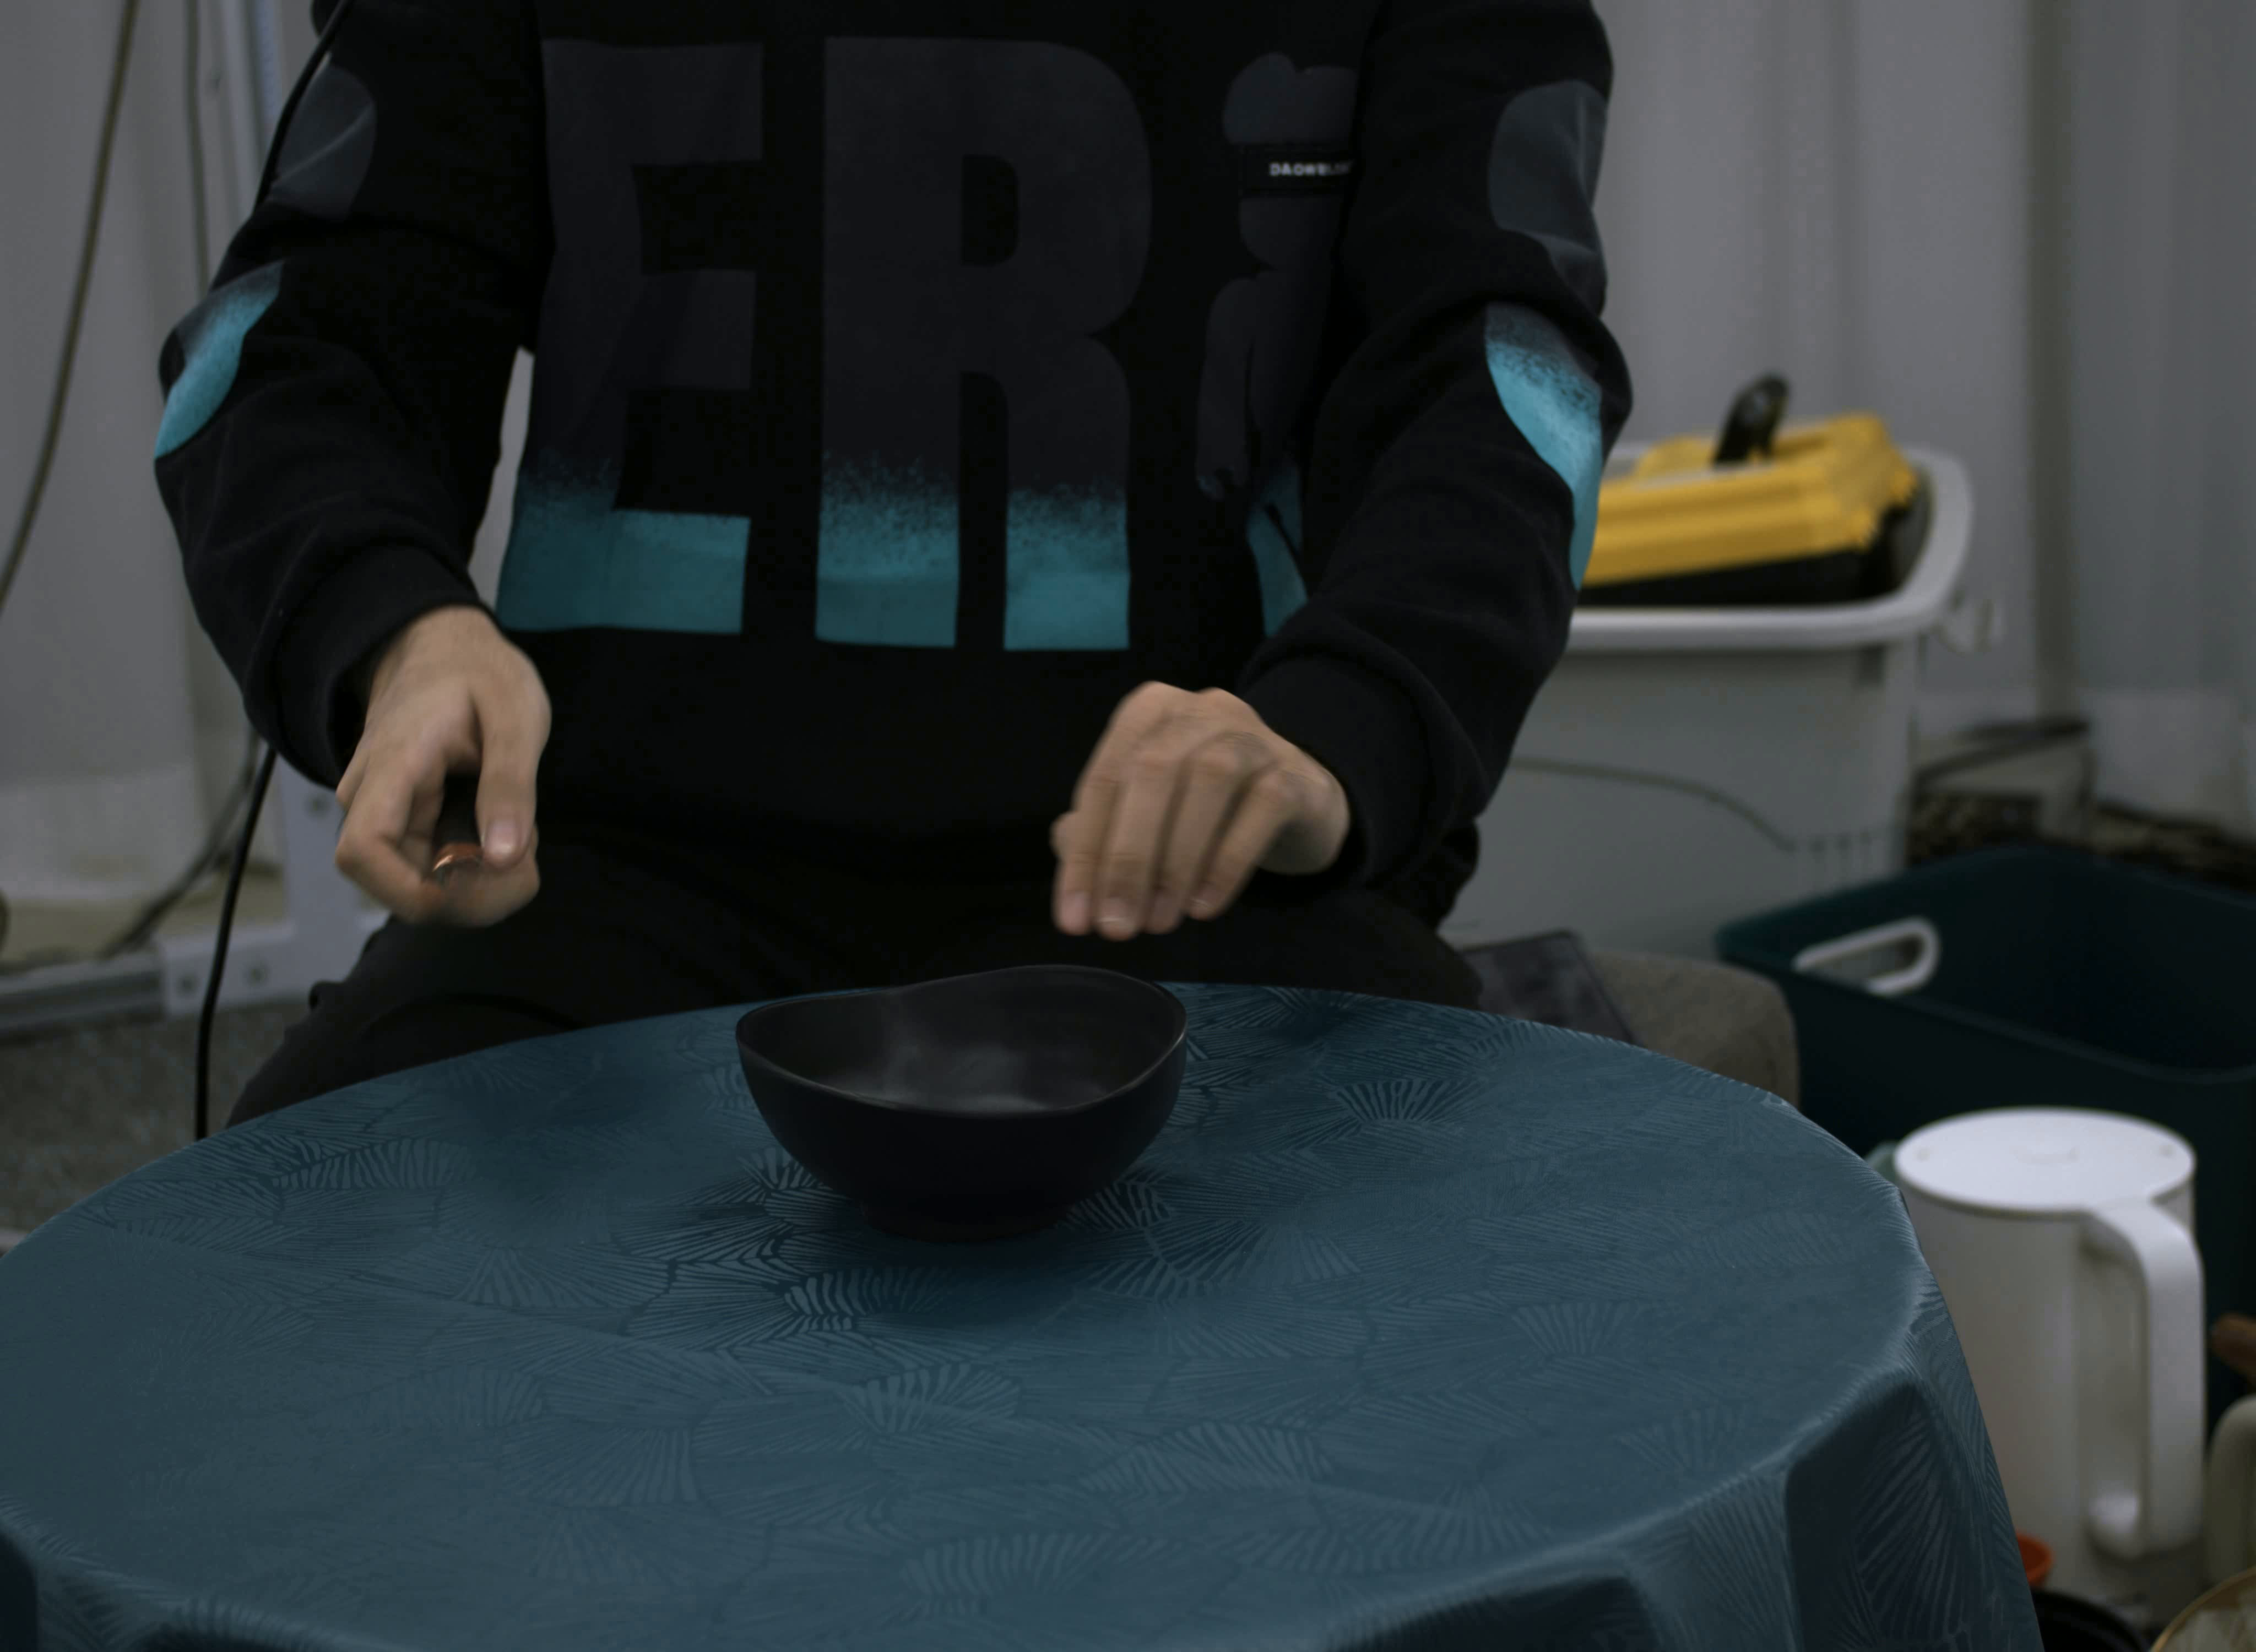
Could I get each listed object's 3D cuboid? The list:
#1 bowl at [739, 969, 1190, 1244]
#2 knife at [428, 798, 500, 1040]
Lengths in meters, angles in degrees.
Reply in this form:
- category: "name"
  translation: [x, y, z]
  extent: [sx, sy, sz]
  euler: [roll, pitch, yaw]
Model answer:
- category: "bowl"
  translation: [-0.051, 0.090, 1.695]
  extent: [0.137, 0.066, 0.171]
  euler: [-8, 14, -19]
- category: "knife"
  translation: [-0.212, 0.028, 1.746]
  extent: [0.017, 0.026, 0.227]
  euler: [-41, 16, 5]
